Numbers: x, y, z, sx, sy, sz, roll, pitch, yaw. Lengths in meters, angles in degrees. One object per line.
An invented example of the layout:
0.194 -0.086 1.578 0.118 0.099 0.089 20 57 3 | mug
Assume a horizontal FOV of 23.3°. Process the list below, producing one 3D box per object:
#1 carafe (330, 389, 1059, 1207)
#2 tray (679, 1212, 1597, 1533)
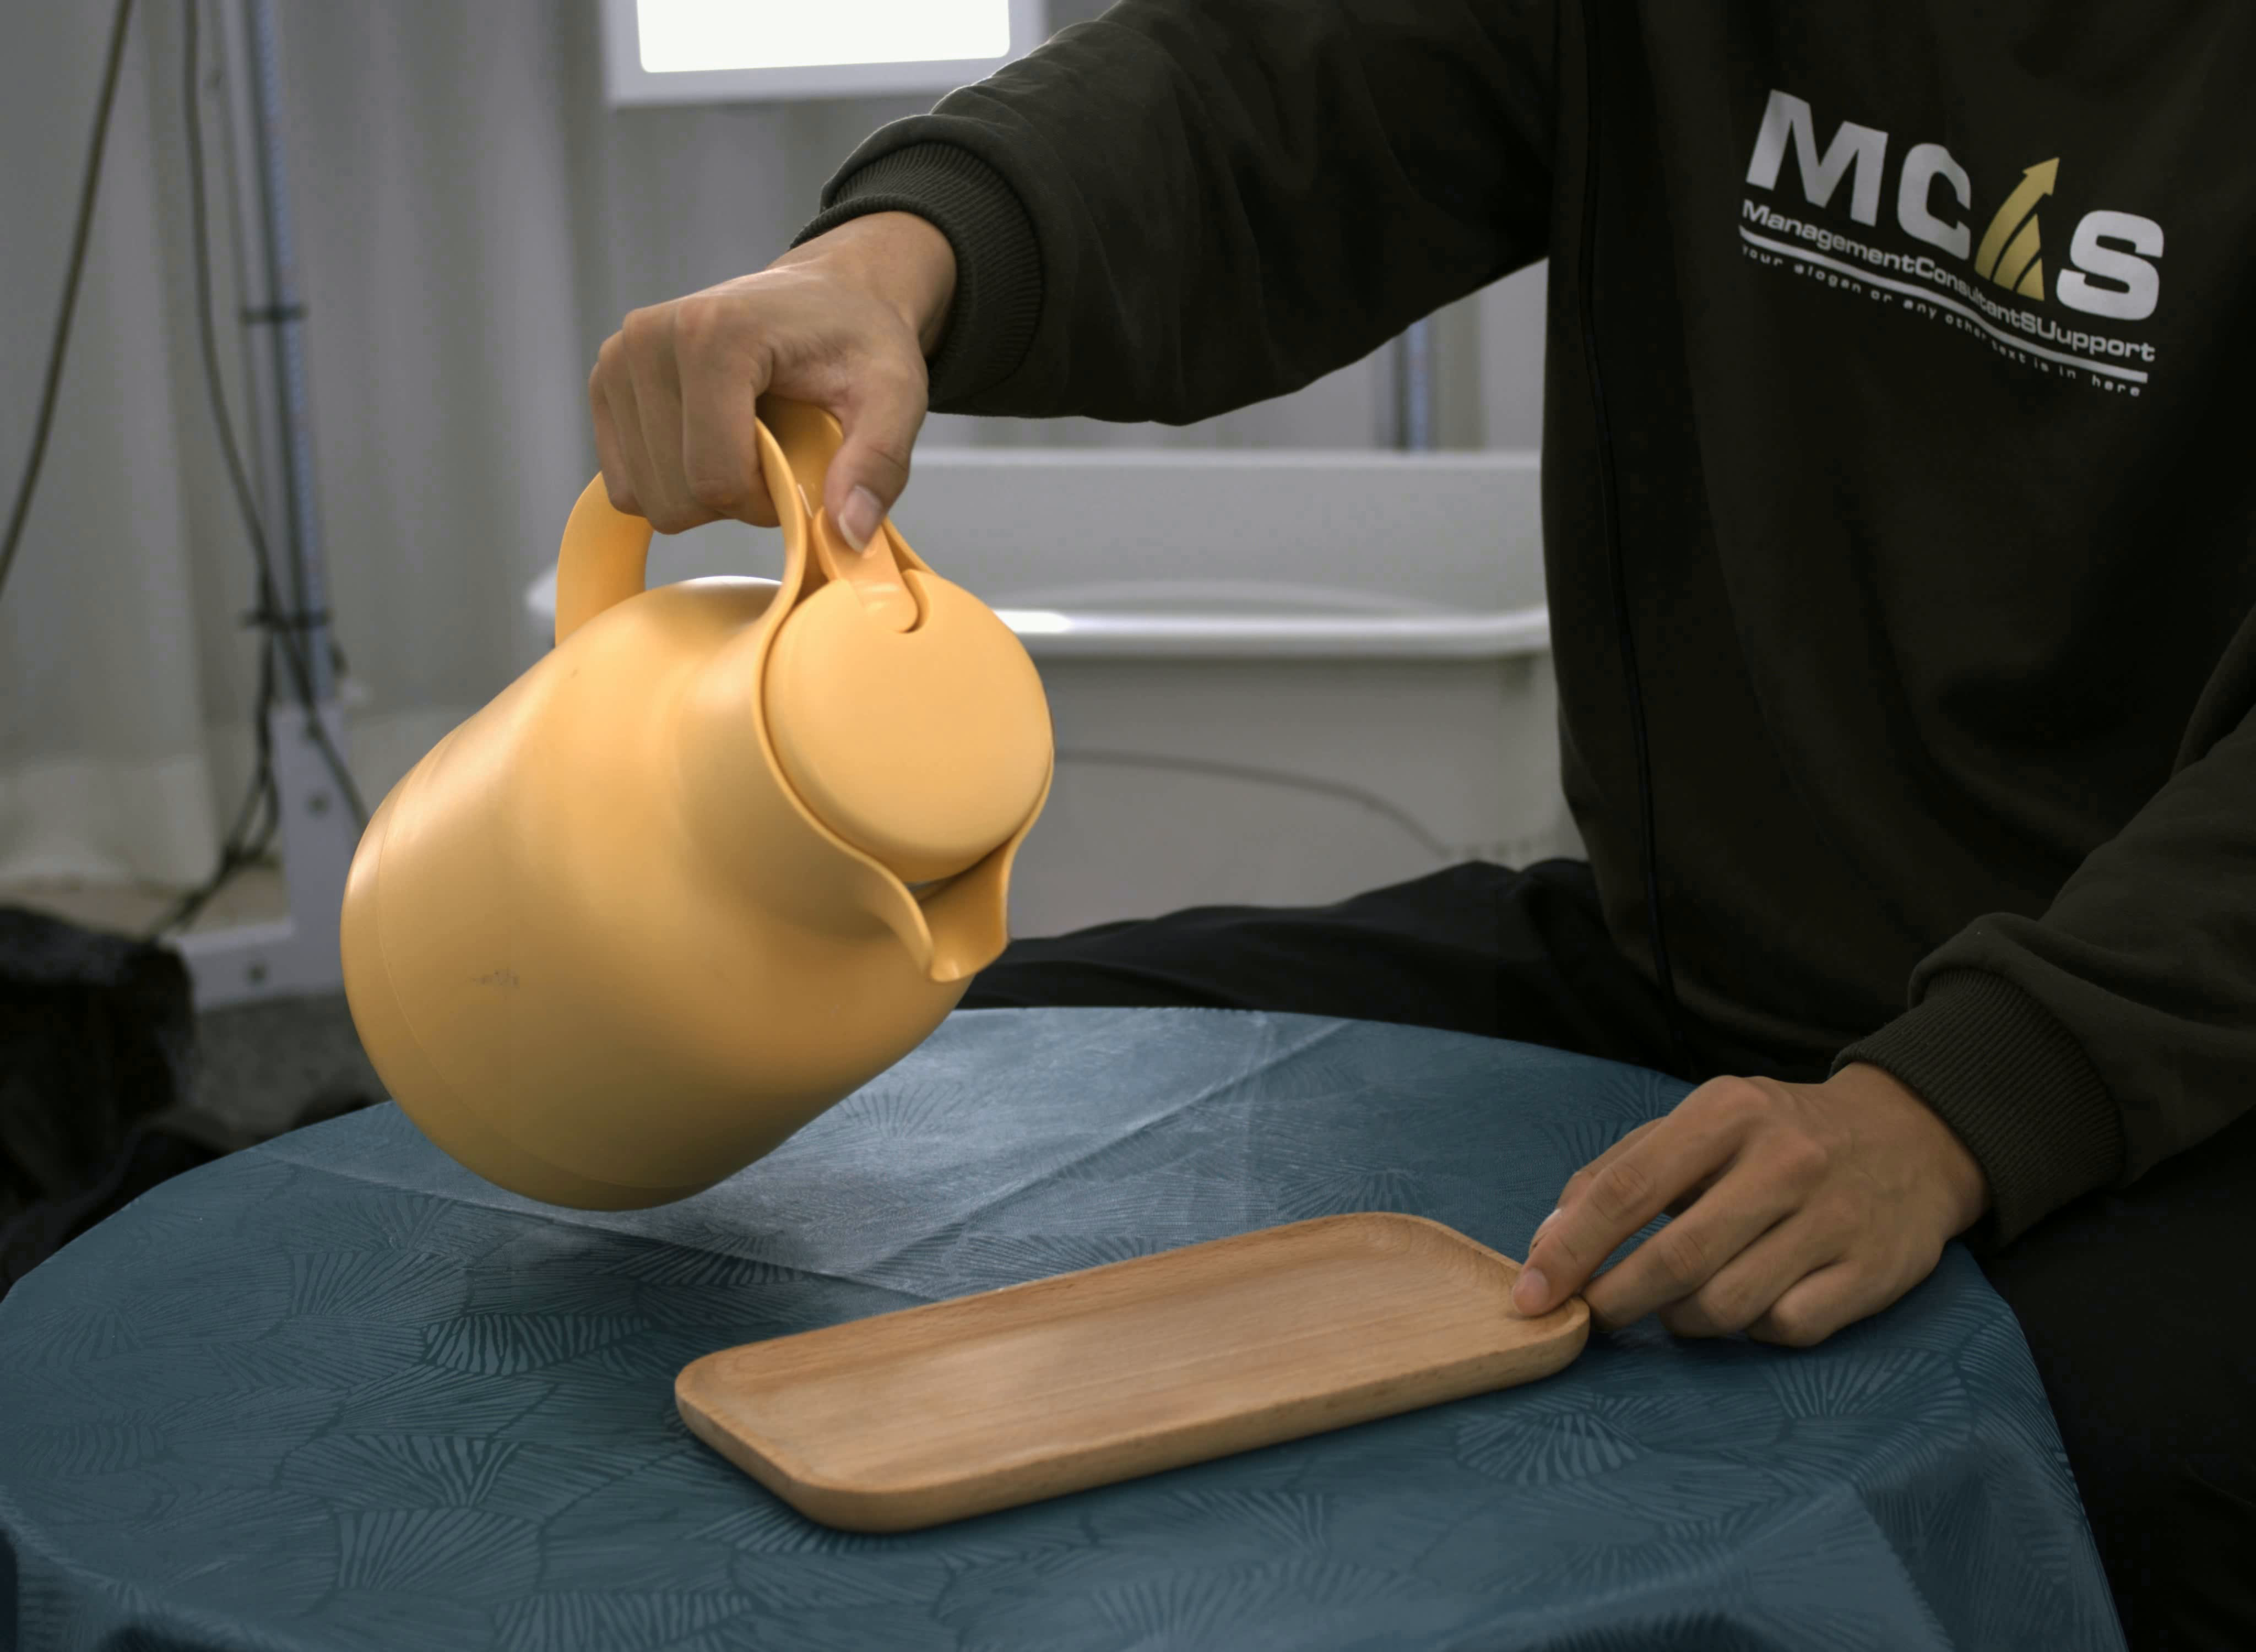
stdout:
-0.125 -0.011 1.639 0.162 0.204 0.259 -4 -18 -36 | carafe
0.004 0.153 1.544 0.249 0.023 0.131 -9 19 -26 | tray
